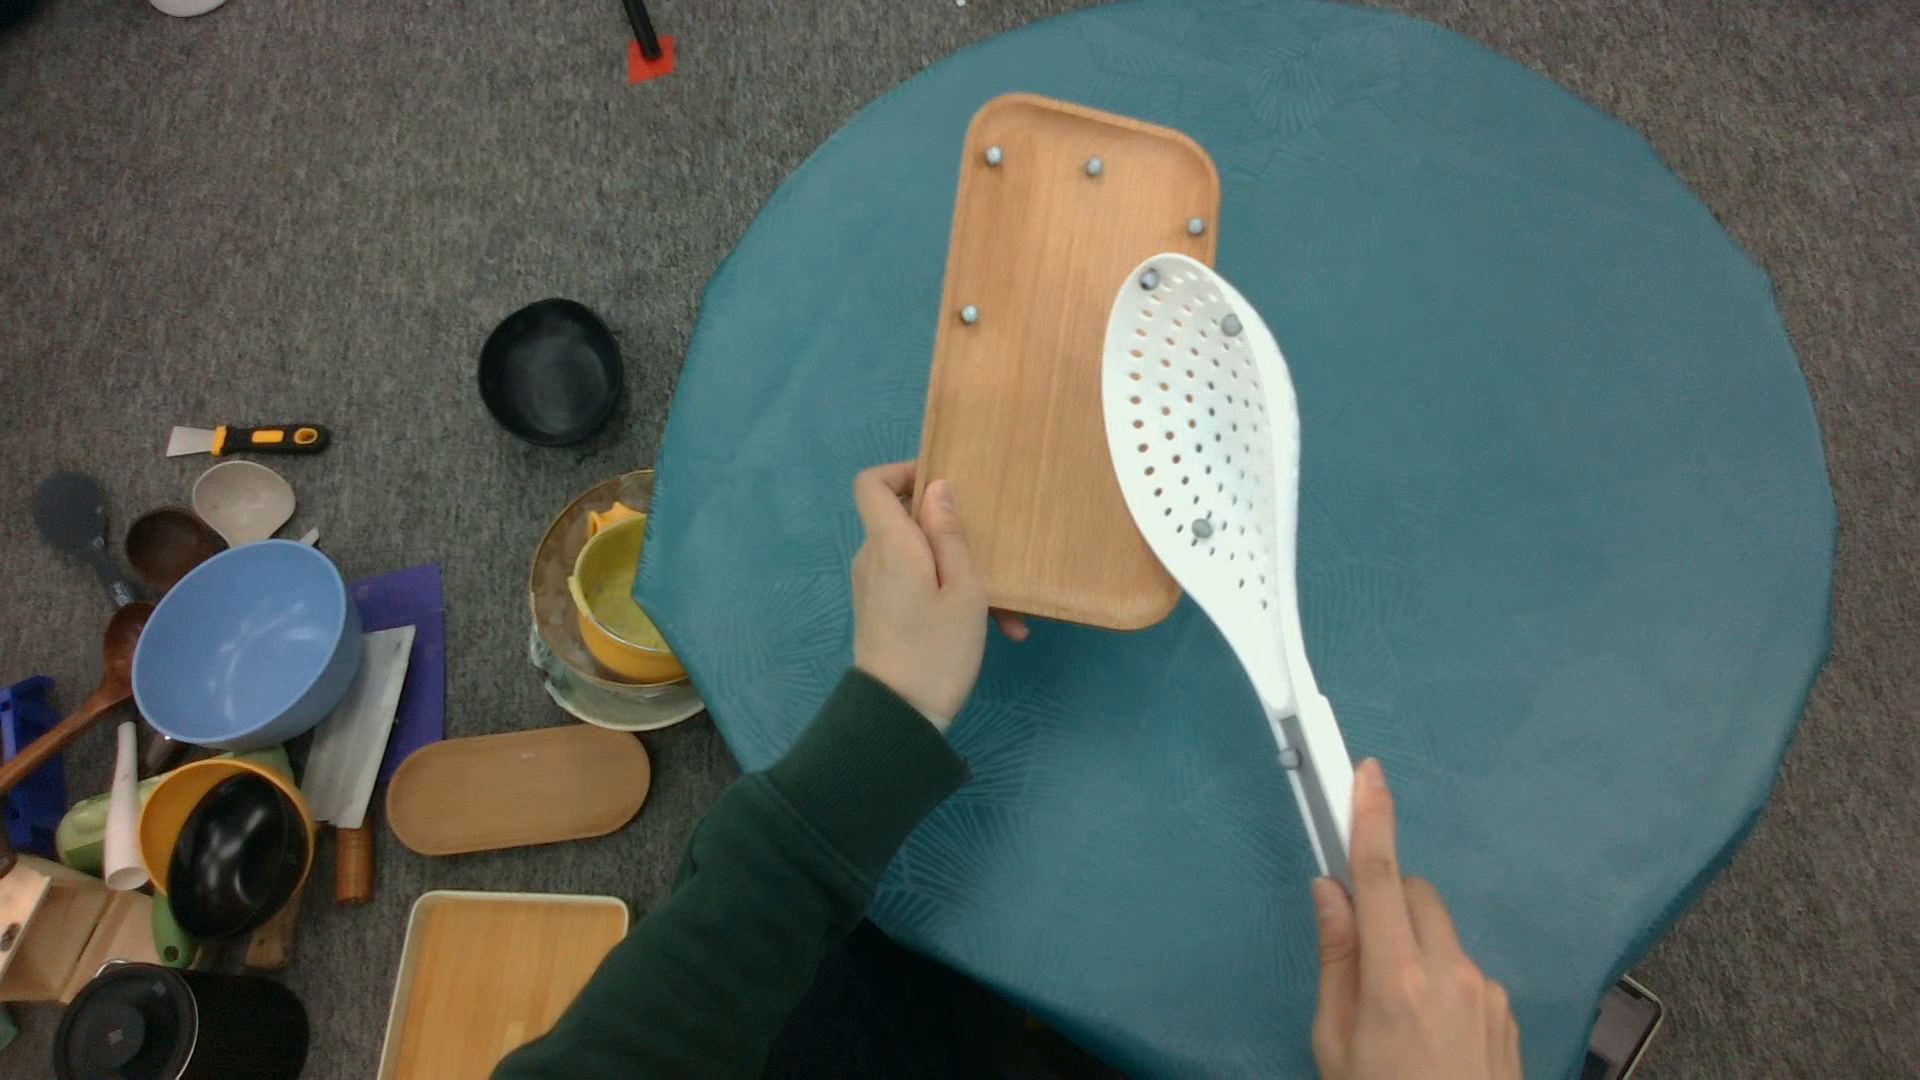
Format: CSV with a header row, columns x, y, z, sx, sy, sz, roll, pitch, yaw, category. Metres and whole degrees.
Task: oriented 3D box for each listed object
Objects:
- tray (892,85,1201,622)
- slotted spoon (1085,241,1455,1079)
x,y,z,sx,sy,sz,roll,pitch,yaw,category
0.043,-0.089,0.633,0.130,0.023,0.251,10,74,-9,tray
0.121,0.046,0.538,0.046,0.135,0.350,-9,75,-17,slotted spoon
